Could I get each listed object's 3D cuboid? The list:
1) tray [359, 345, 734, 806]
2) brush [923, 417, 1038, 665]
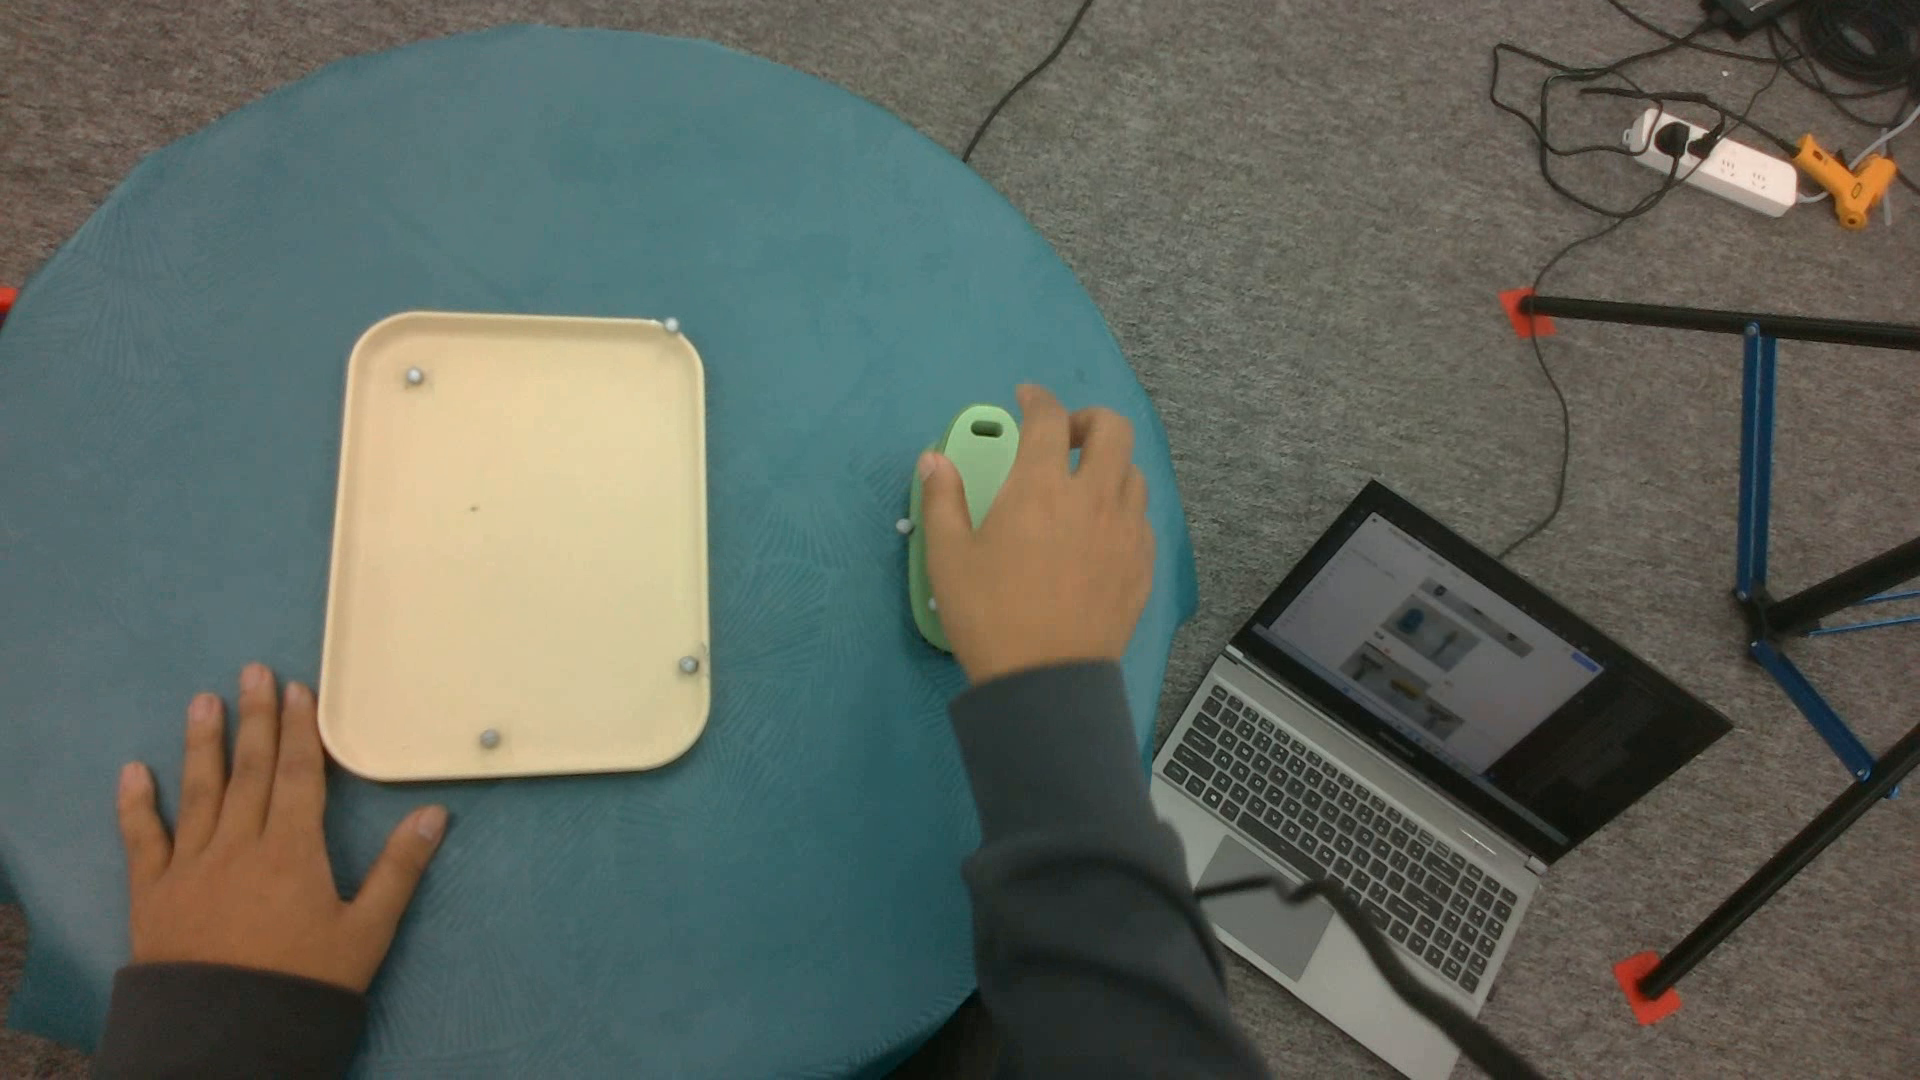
[{"bbox_3d":[-0.204,0.011,0.686,0.171,0.017,0.240,-2,67,-11],"label":"tray"},{"bbox_3d":[0.011,0.003,0.712,0.059,0.075,0.123,1,81,-9],"label":"brush"}]
